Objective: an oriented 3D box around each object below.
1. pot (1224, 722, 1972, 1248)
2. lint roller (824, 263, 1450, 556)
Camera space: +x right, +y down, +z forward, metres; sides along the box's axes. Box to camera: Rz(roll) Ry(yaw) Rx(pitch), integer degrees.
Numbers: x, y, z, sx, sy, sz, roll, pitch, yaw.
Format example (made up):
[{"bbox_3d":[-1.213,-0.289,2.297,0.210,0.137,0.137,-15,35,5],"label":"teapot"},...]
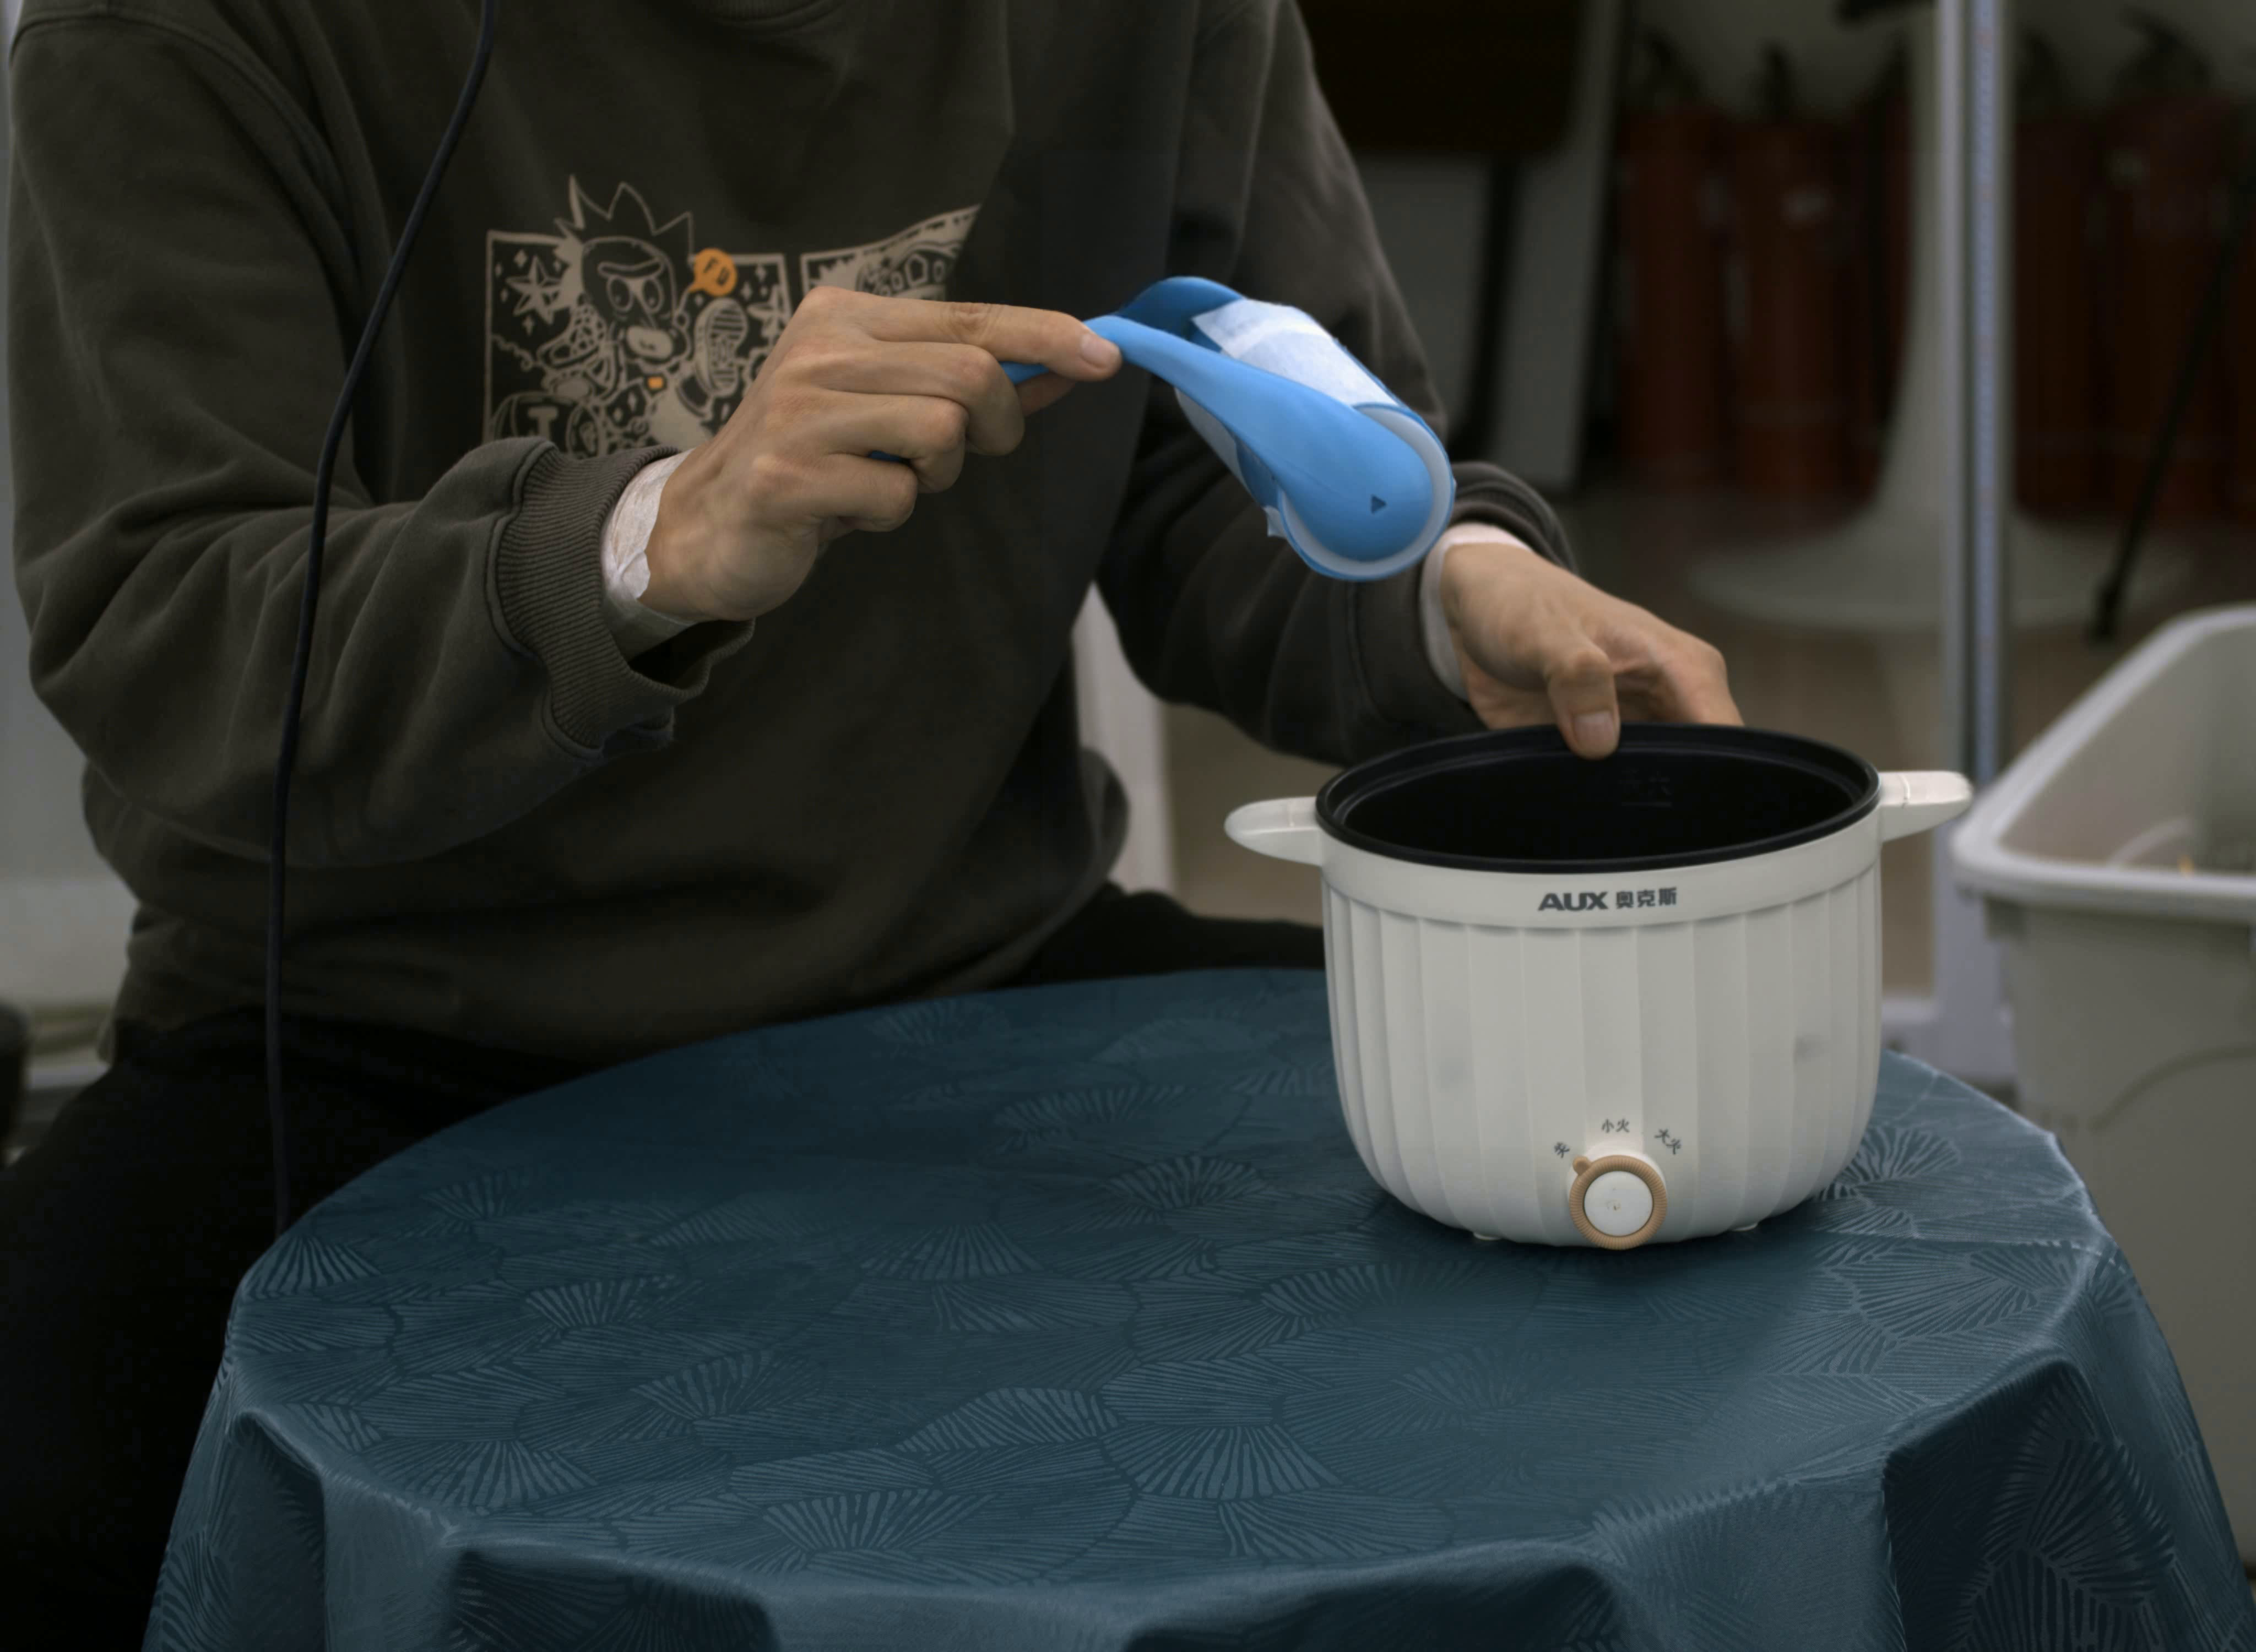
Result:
[{"bbox_3d":[0.154,0.053,1.716,0.238,0.144,0.190,-4,10,5],"label":"pot"},{"bbox_3d":[-0.003,-0.128,1.650,0.177,0.069,0.230,0,15,-9],"label":"lint roller"}]
